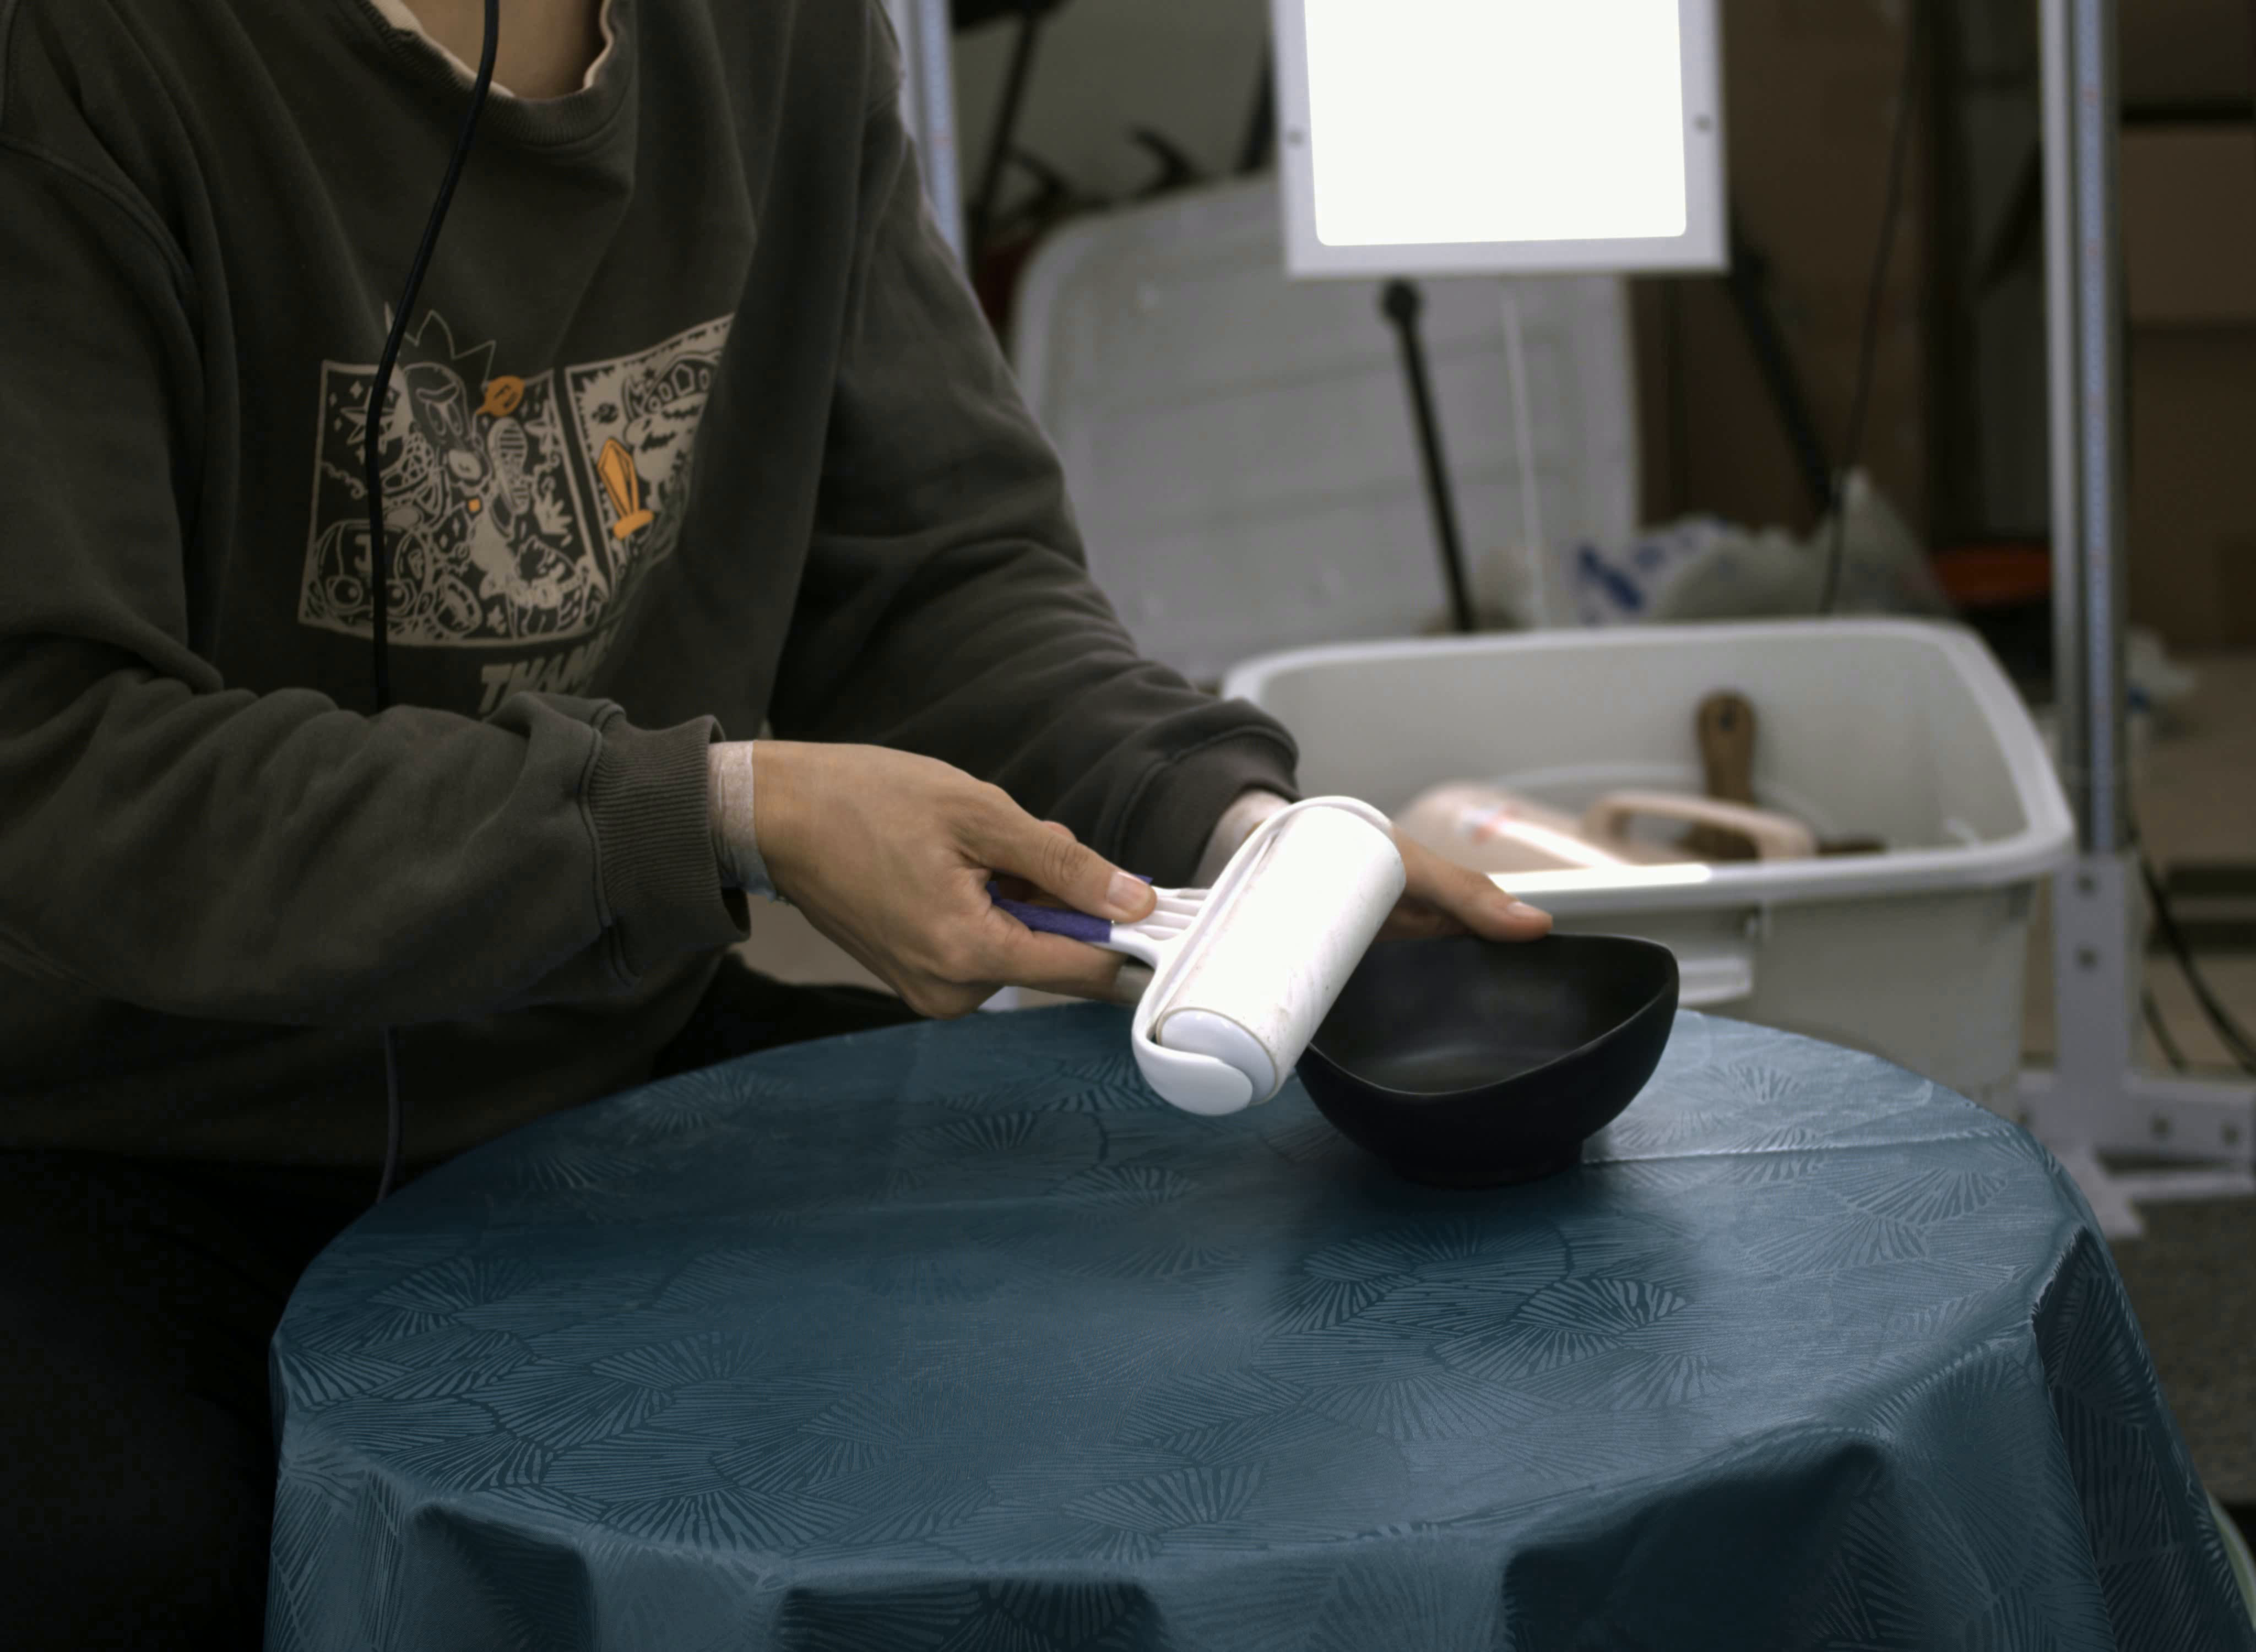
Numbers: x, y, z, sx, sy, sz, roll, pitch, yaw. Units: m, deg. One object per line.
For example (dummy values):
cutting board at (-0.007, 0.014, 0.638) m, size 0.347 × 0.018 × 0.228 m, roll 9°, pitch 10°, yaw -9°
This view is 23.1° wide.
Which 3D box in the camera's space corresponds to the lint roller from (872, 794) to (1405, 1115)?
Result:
lint roller at (-0.006, 0.021, 1.858) m, size 0.183 × 0.050 × 0.131 m, roll 21°, pitch 53°, yaw 21°

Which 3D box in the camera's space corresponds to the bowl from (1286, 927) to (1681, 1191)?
bowl at (0.123, 0.084, 1.892) m, size 0.139 × 0.067 × 0.168 m, roll -2°, pitch 16°, yaw 15°
